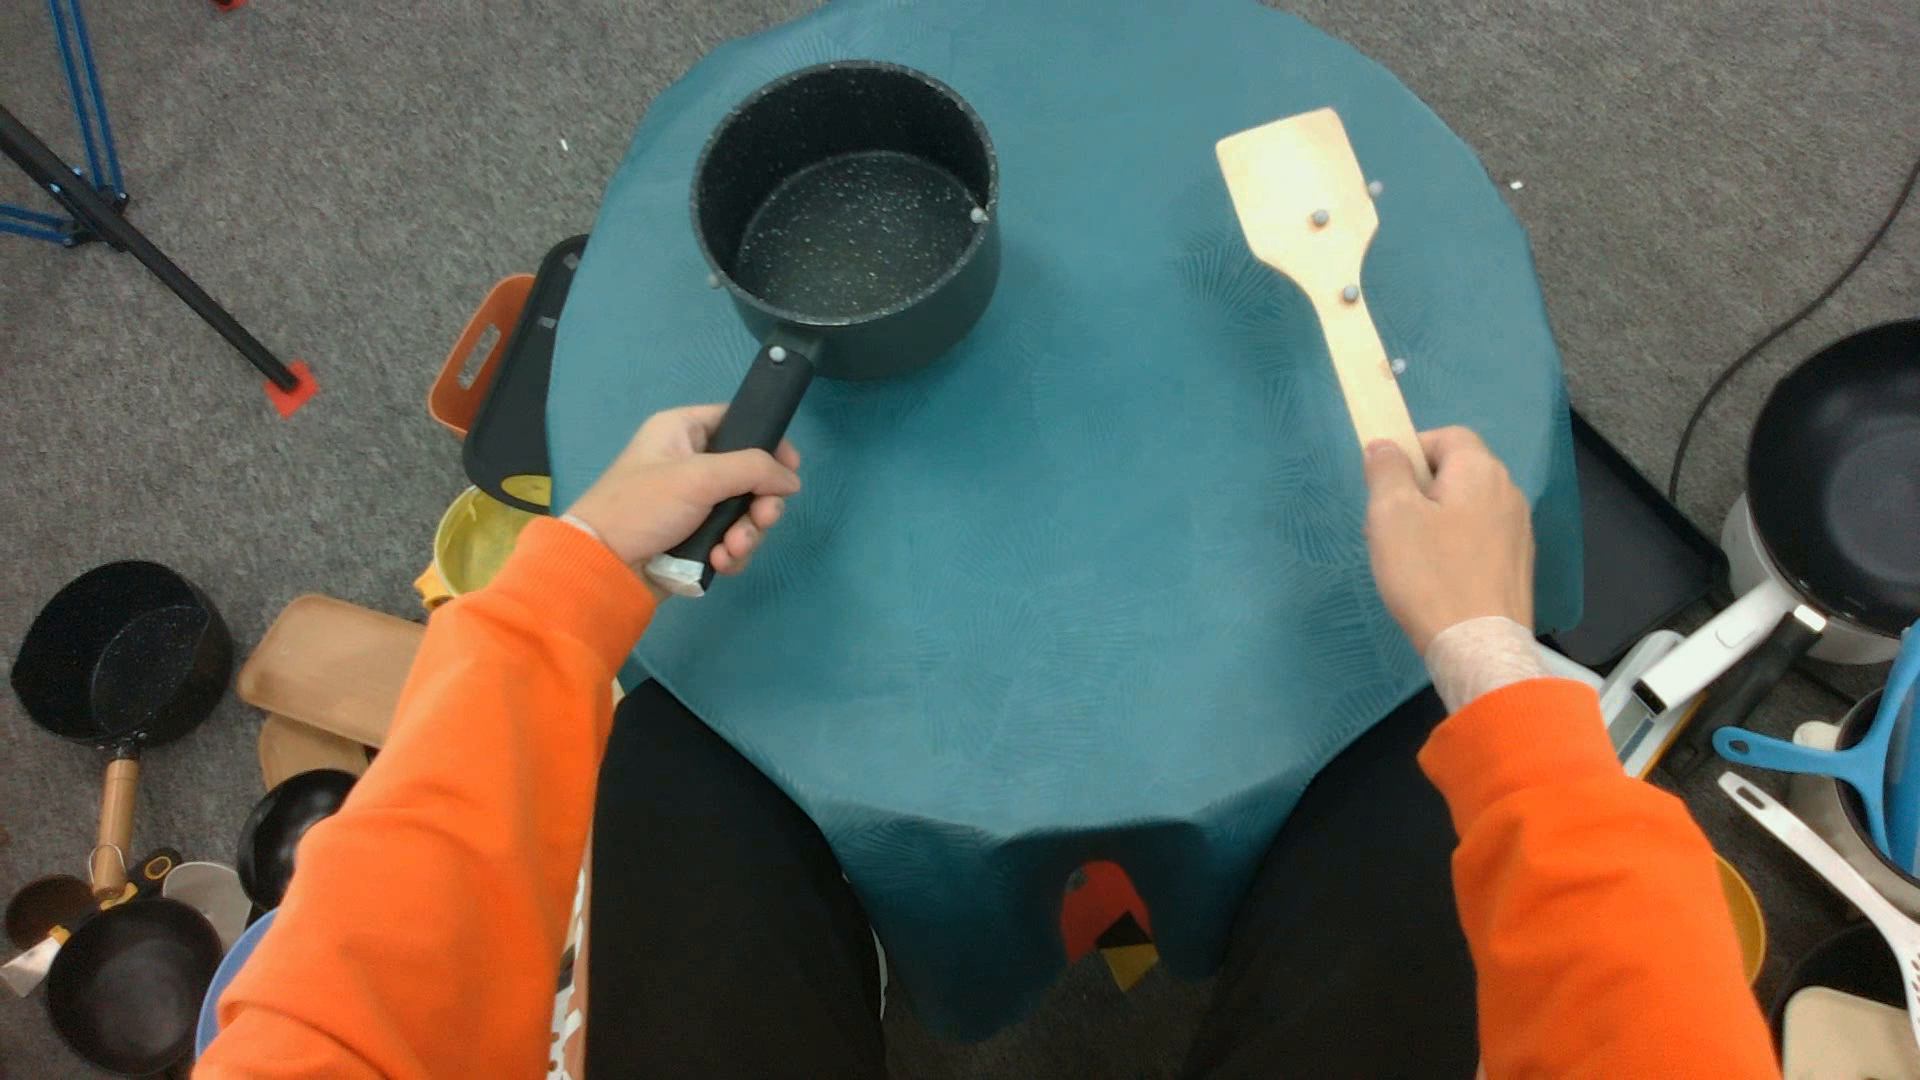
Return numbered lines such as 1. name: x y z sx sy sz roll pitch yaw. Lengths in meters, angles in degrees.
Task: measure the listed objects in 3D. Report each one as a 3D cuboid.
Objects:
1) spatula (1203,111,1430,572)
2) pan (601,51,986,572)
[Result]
1. spatula: 0.192 -0.113 0.719 0.072 0.010 0.294 -8 62 -1
2. pan: -0.096 -0.118 0.757 0.172 0.086 0.330 18 69 13
